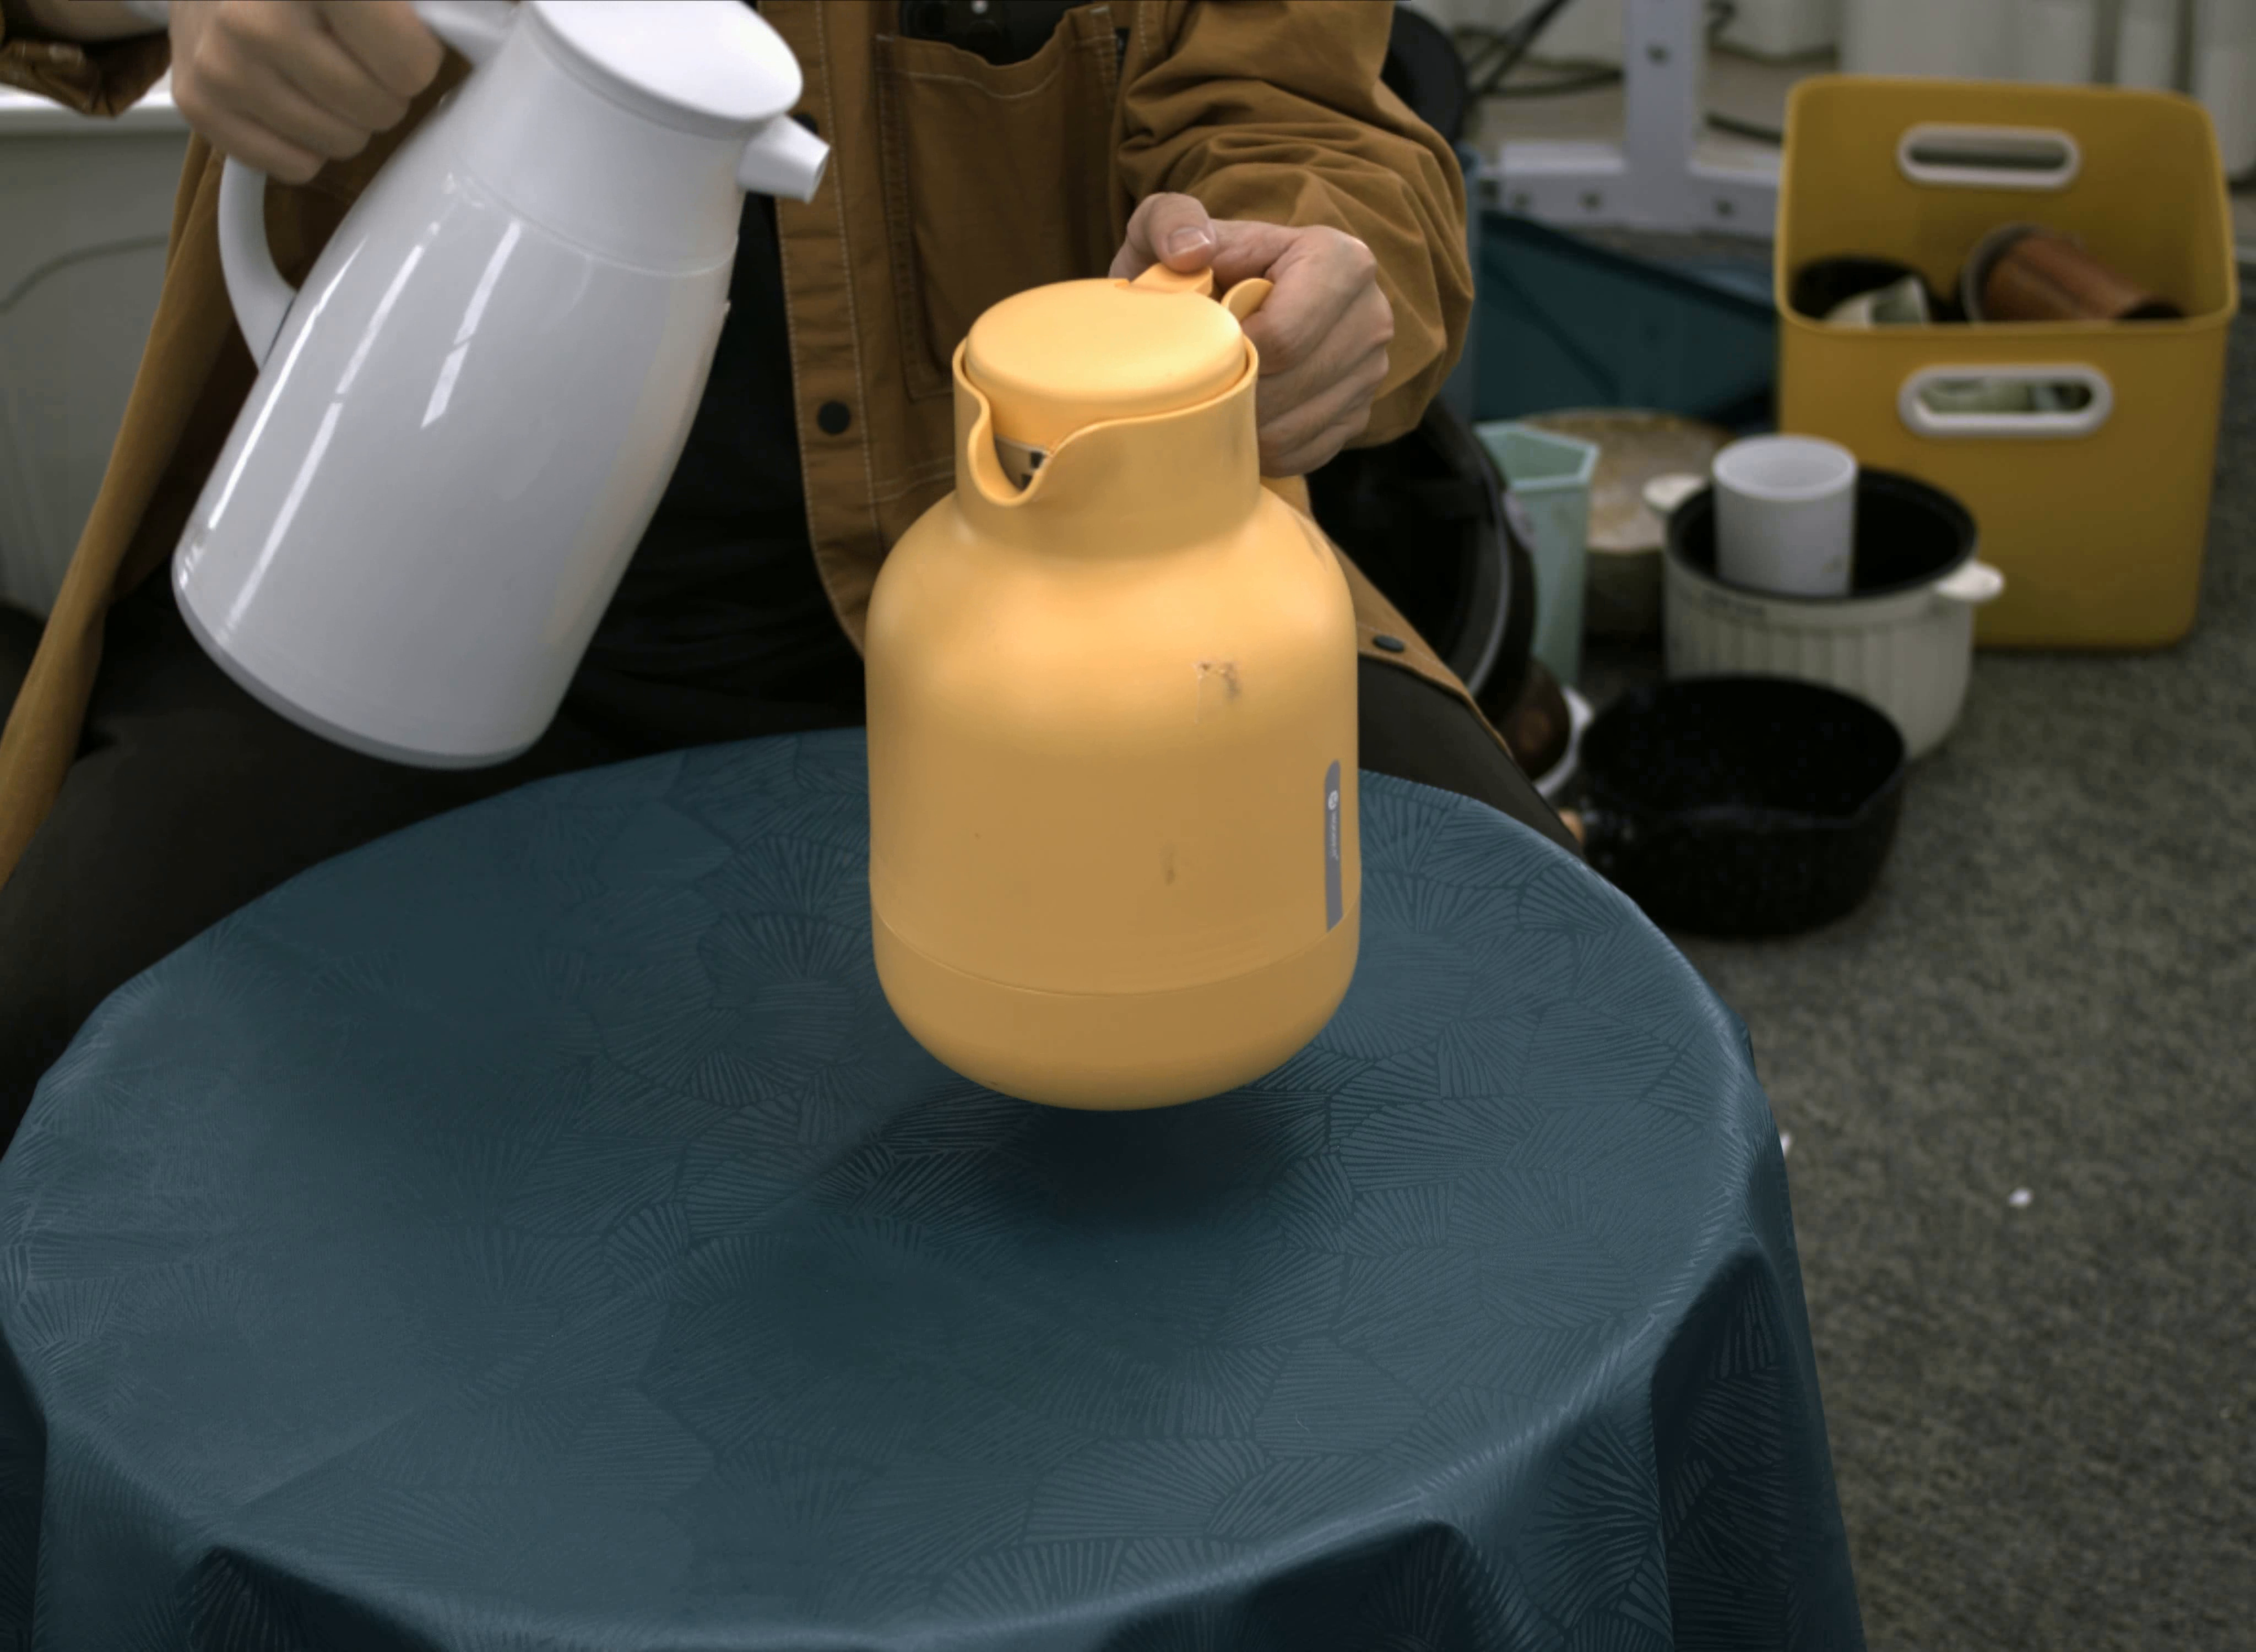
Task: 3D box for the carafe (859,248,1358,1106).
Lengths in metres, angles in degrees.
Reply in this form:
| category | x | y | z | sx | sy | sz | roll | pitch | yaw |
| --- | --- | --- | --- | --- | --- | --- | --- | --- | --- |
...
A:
| category | x | y | z | sx | sy | sz | roll | pitch | yaw |
| --- | --- | --- | --- | --- | --- | --- | --- | --- | --- |
| carafe | 0.004 | -0.057 | 1.841 | 0.162 | 0.257 | 0.206 | 14 | 32 | 24 |

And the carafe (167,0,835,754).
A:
| category | x | y | z | sx | sy | sz | roll | pitch | yaw |
| --- | --- | --- | --- | --- | --- | --- | --- | --- | --- |
| carafe | -0.207 | -0.166 | 1.748 | 0.167 | 0.245 | 0.135 | 28 | 27 | -6 |
